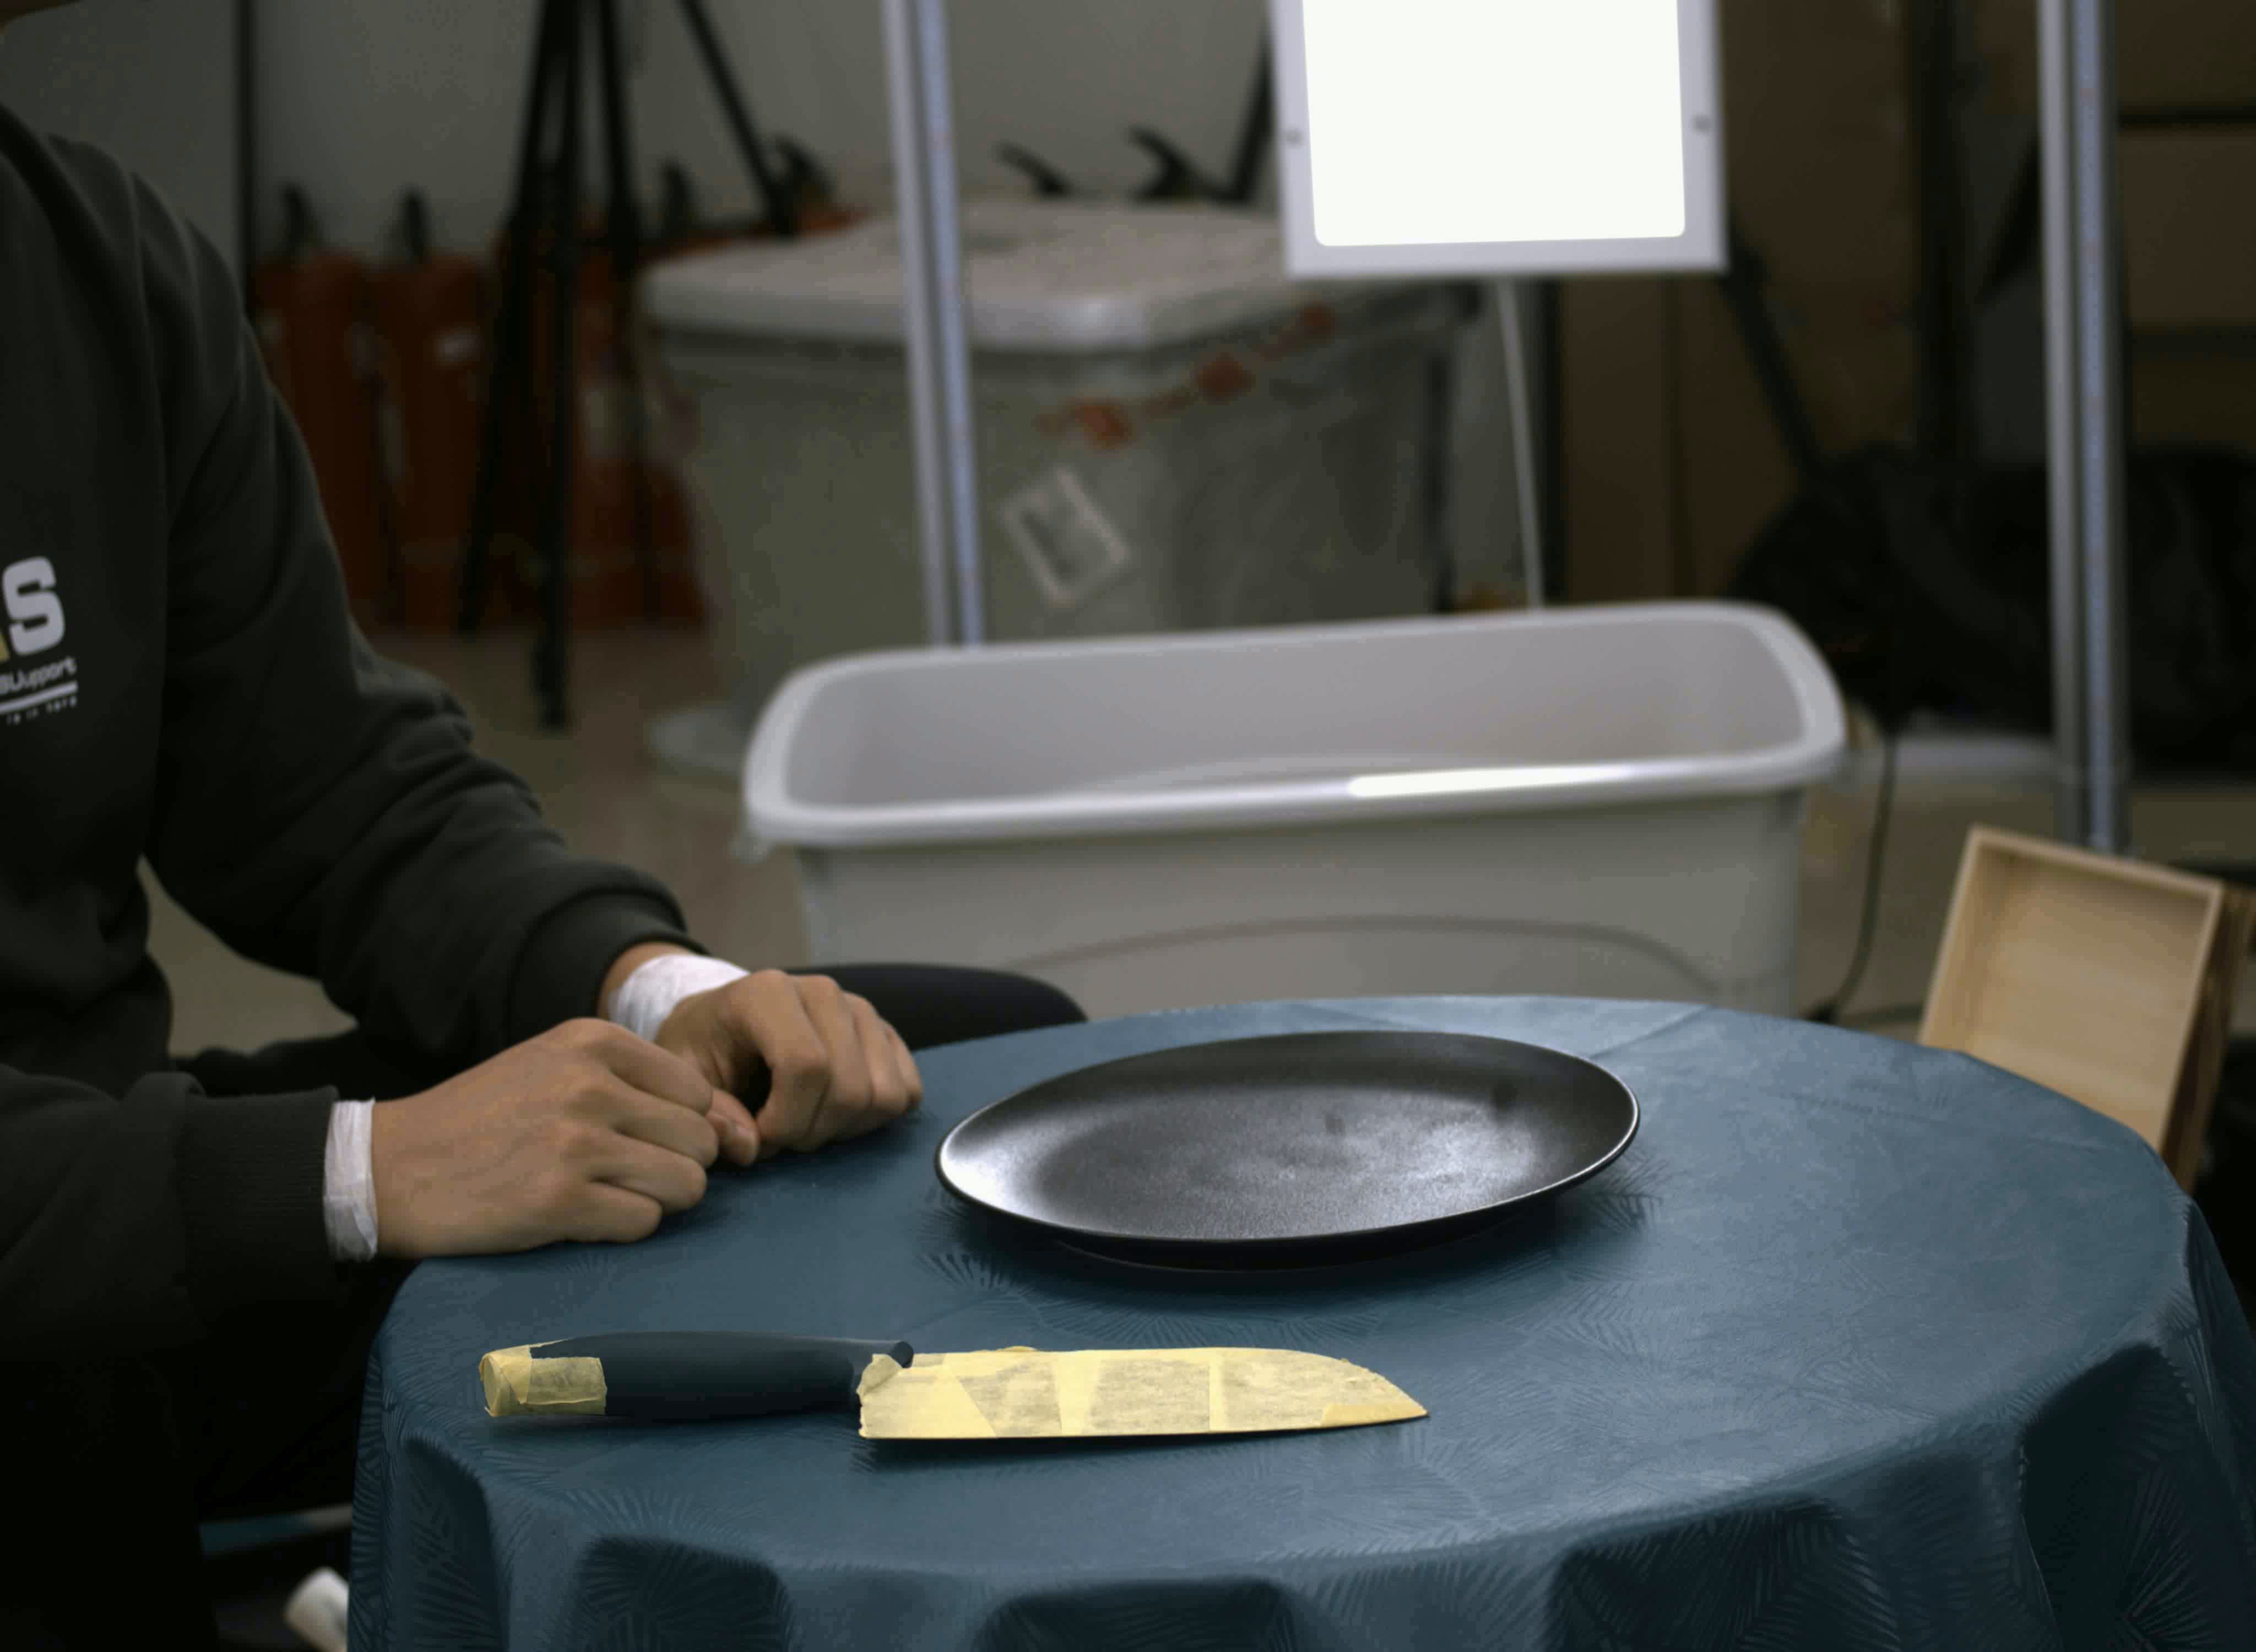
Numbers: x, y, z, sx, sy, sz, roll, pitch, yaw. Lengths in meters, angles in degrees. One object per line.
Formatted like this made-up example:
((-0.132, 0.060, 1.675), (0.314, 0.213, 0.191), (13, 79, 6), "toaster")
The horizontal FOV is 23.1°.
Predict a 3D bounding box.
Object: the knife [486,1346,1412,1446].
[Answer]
((-0.056, 0.176, 1.691), (0.290, 0.027, 0.080), (-3, 12, 7), "knife")

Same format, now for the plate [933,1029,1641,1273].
((0.055, 0.114, 1.886), (0.244, 0.023, 0.244), (-5, 14, 0), "plate")
